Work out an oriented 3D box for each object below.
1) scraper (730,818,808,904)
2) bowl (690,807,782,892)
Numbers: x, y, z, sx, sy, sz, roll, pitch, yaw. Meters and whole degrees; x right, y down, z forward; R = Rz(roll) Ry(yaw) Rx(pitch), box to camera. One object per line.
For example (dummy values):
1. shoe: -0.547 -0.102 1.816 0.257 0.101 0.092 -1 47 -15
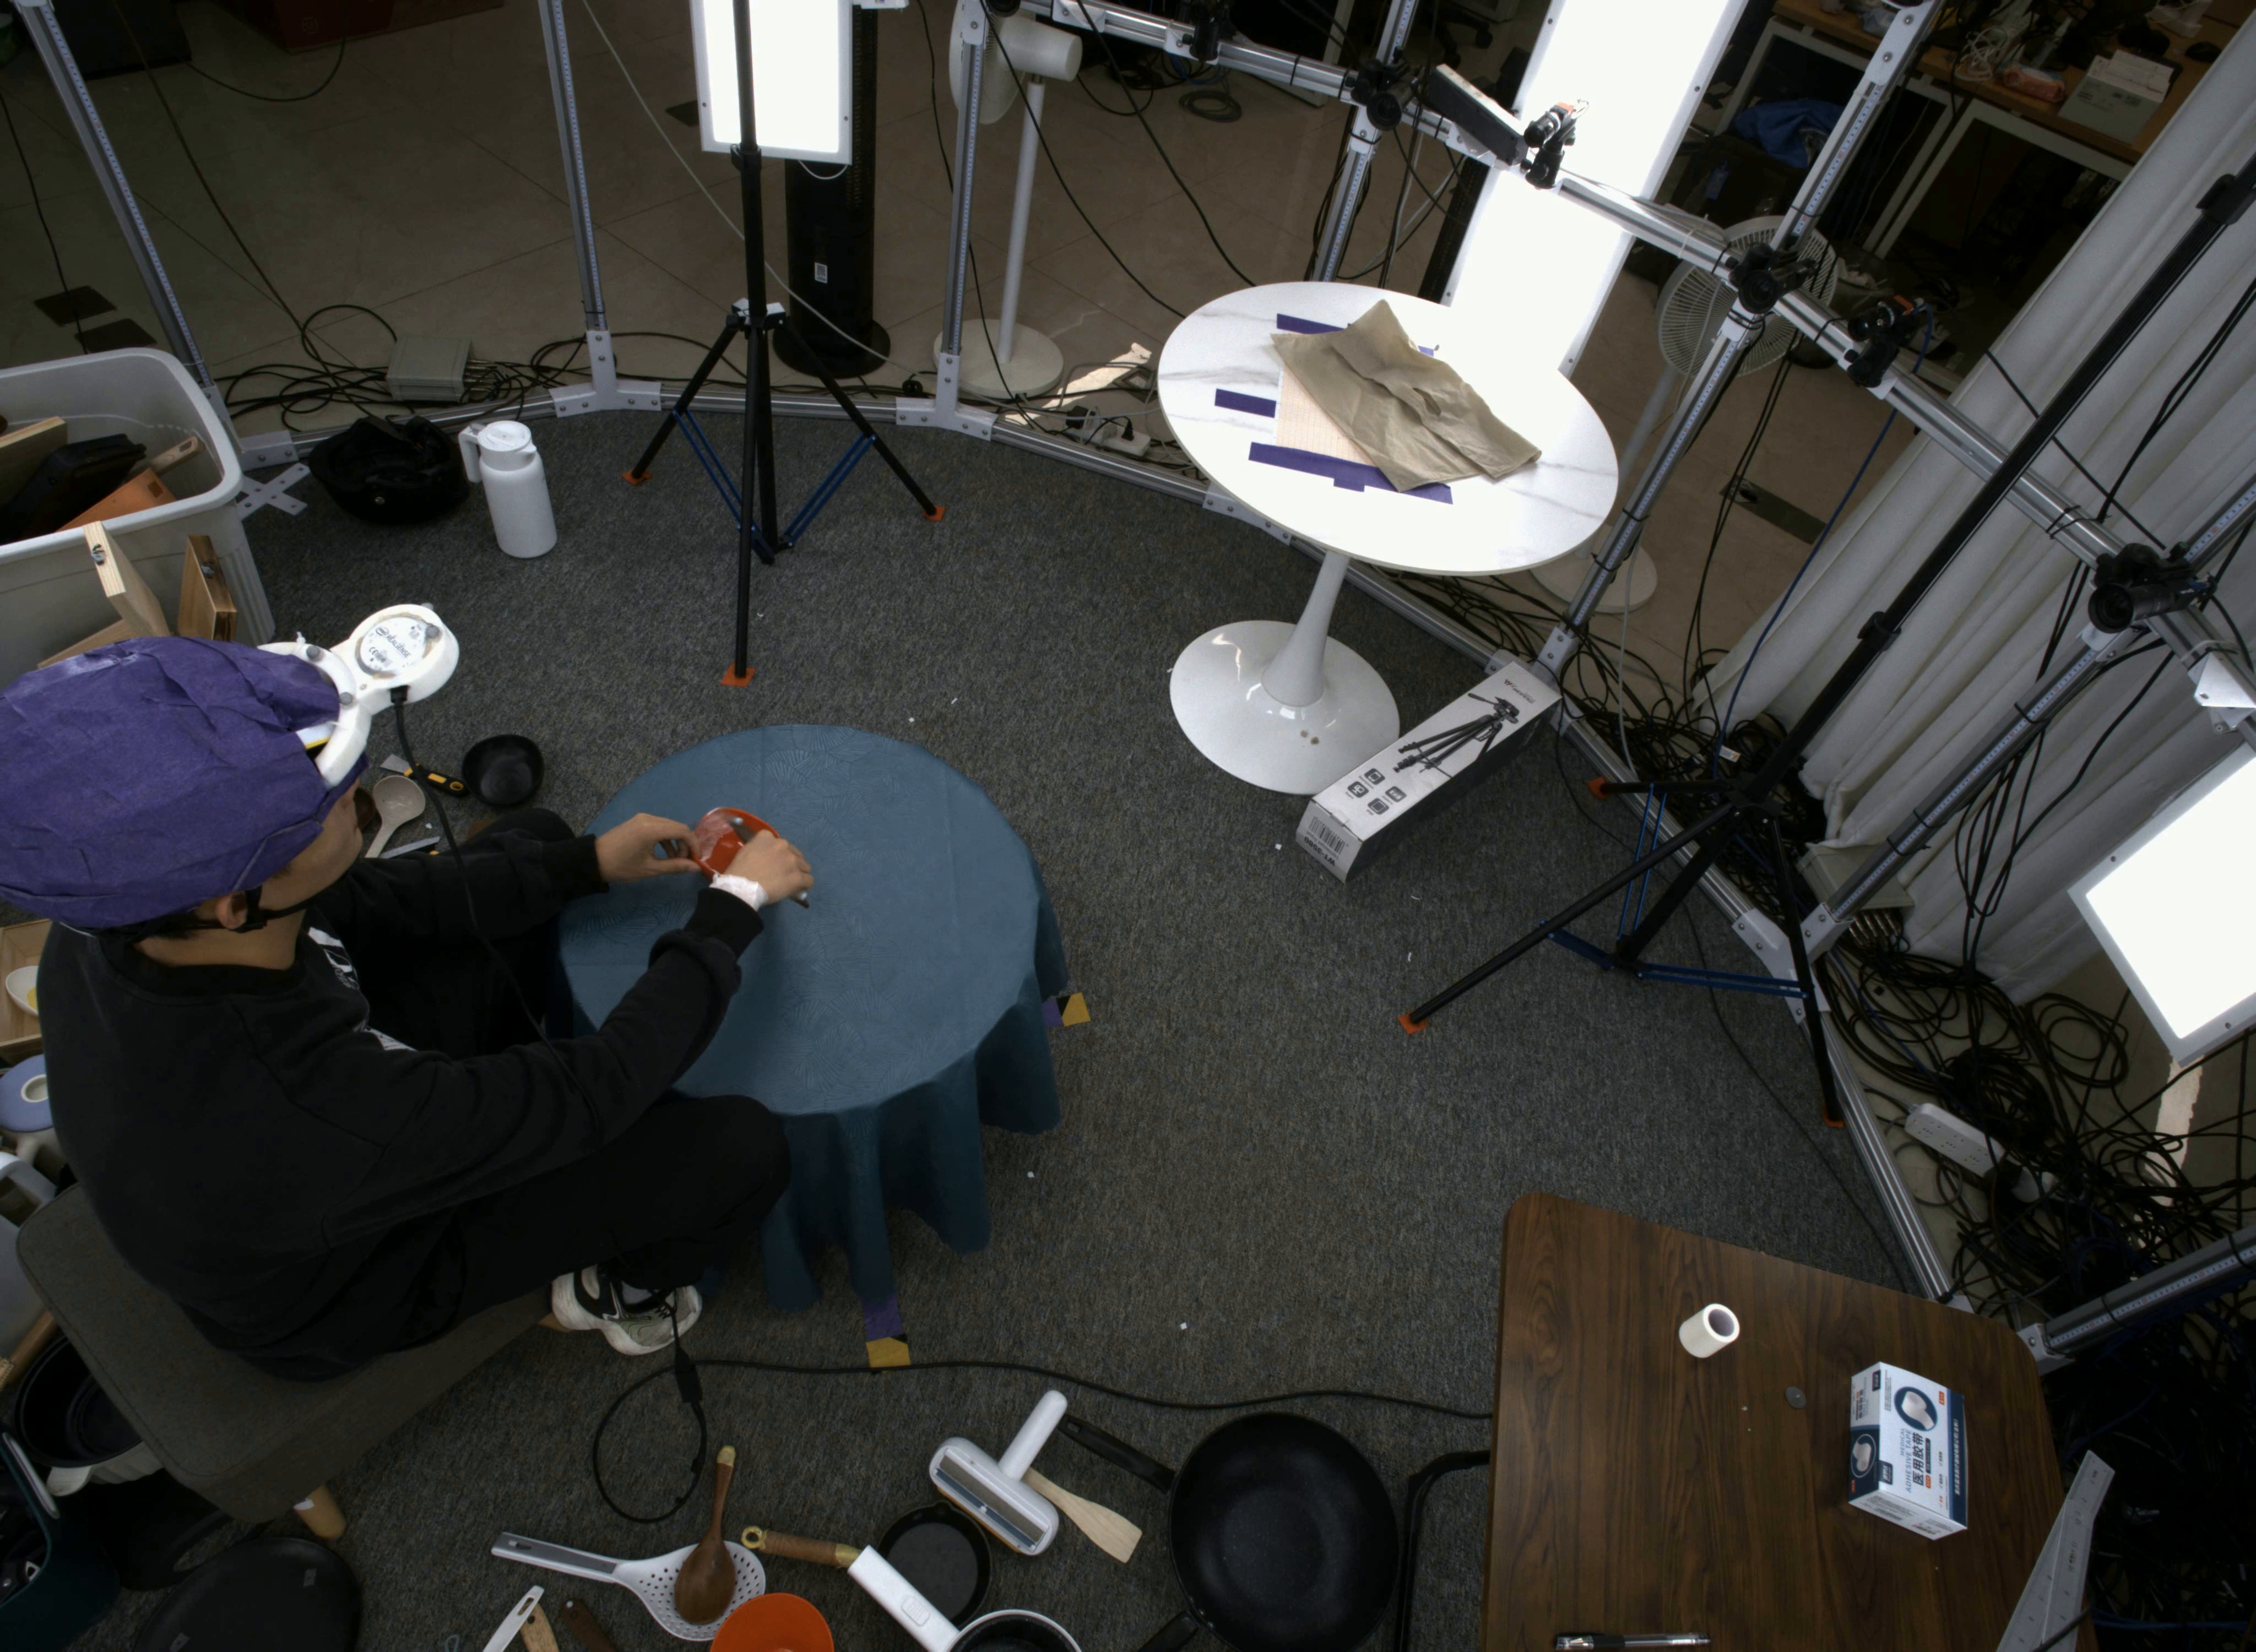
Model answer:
1. scraper: -0.428 0.045 1.563 0.011 0.078 0.203 -52 40 -2
2. bowl: -0.502 0.037 1.638 0.121 0.051 0.116 21 46 -21
